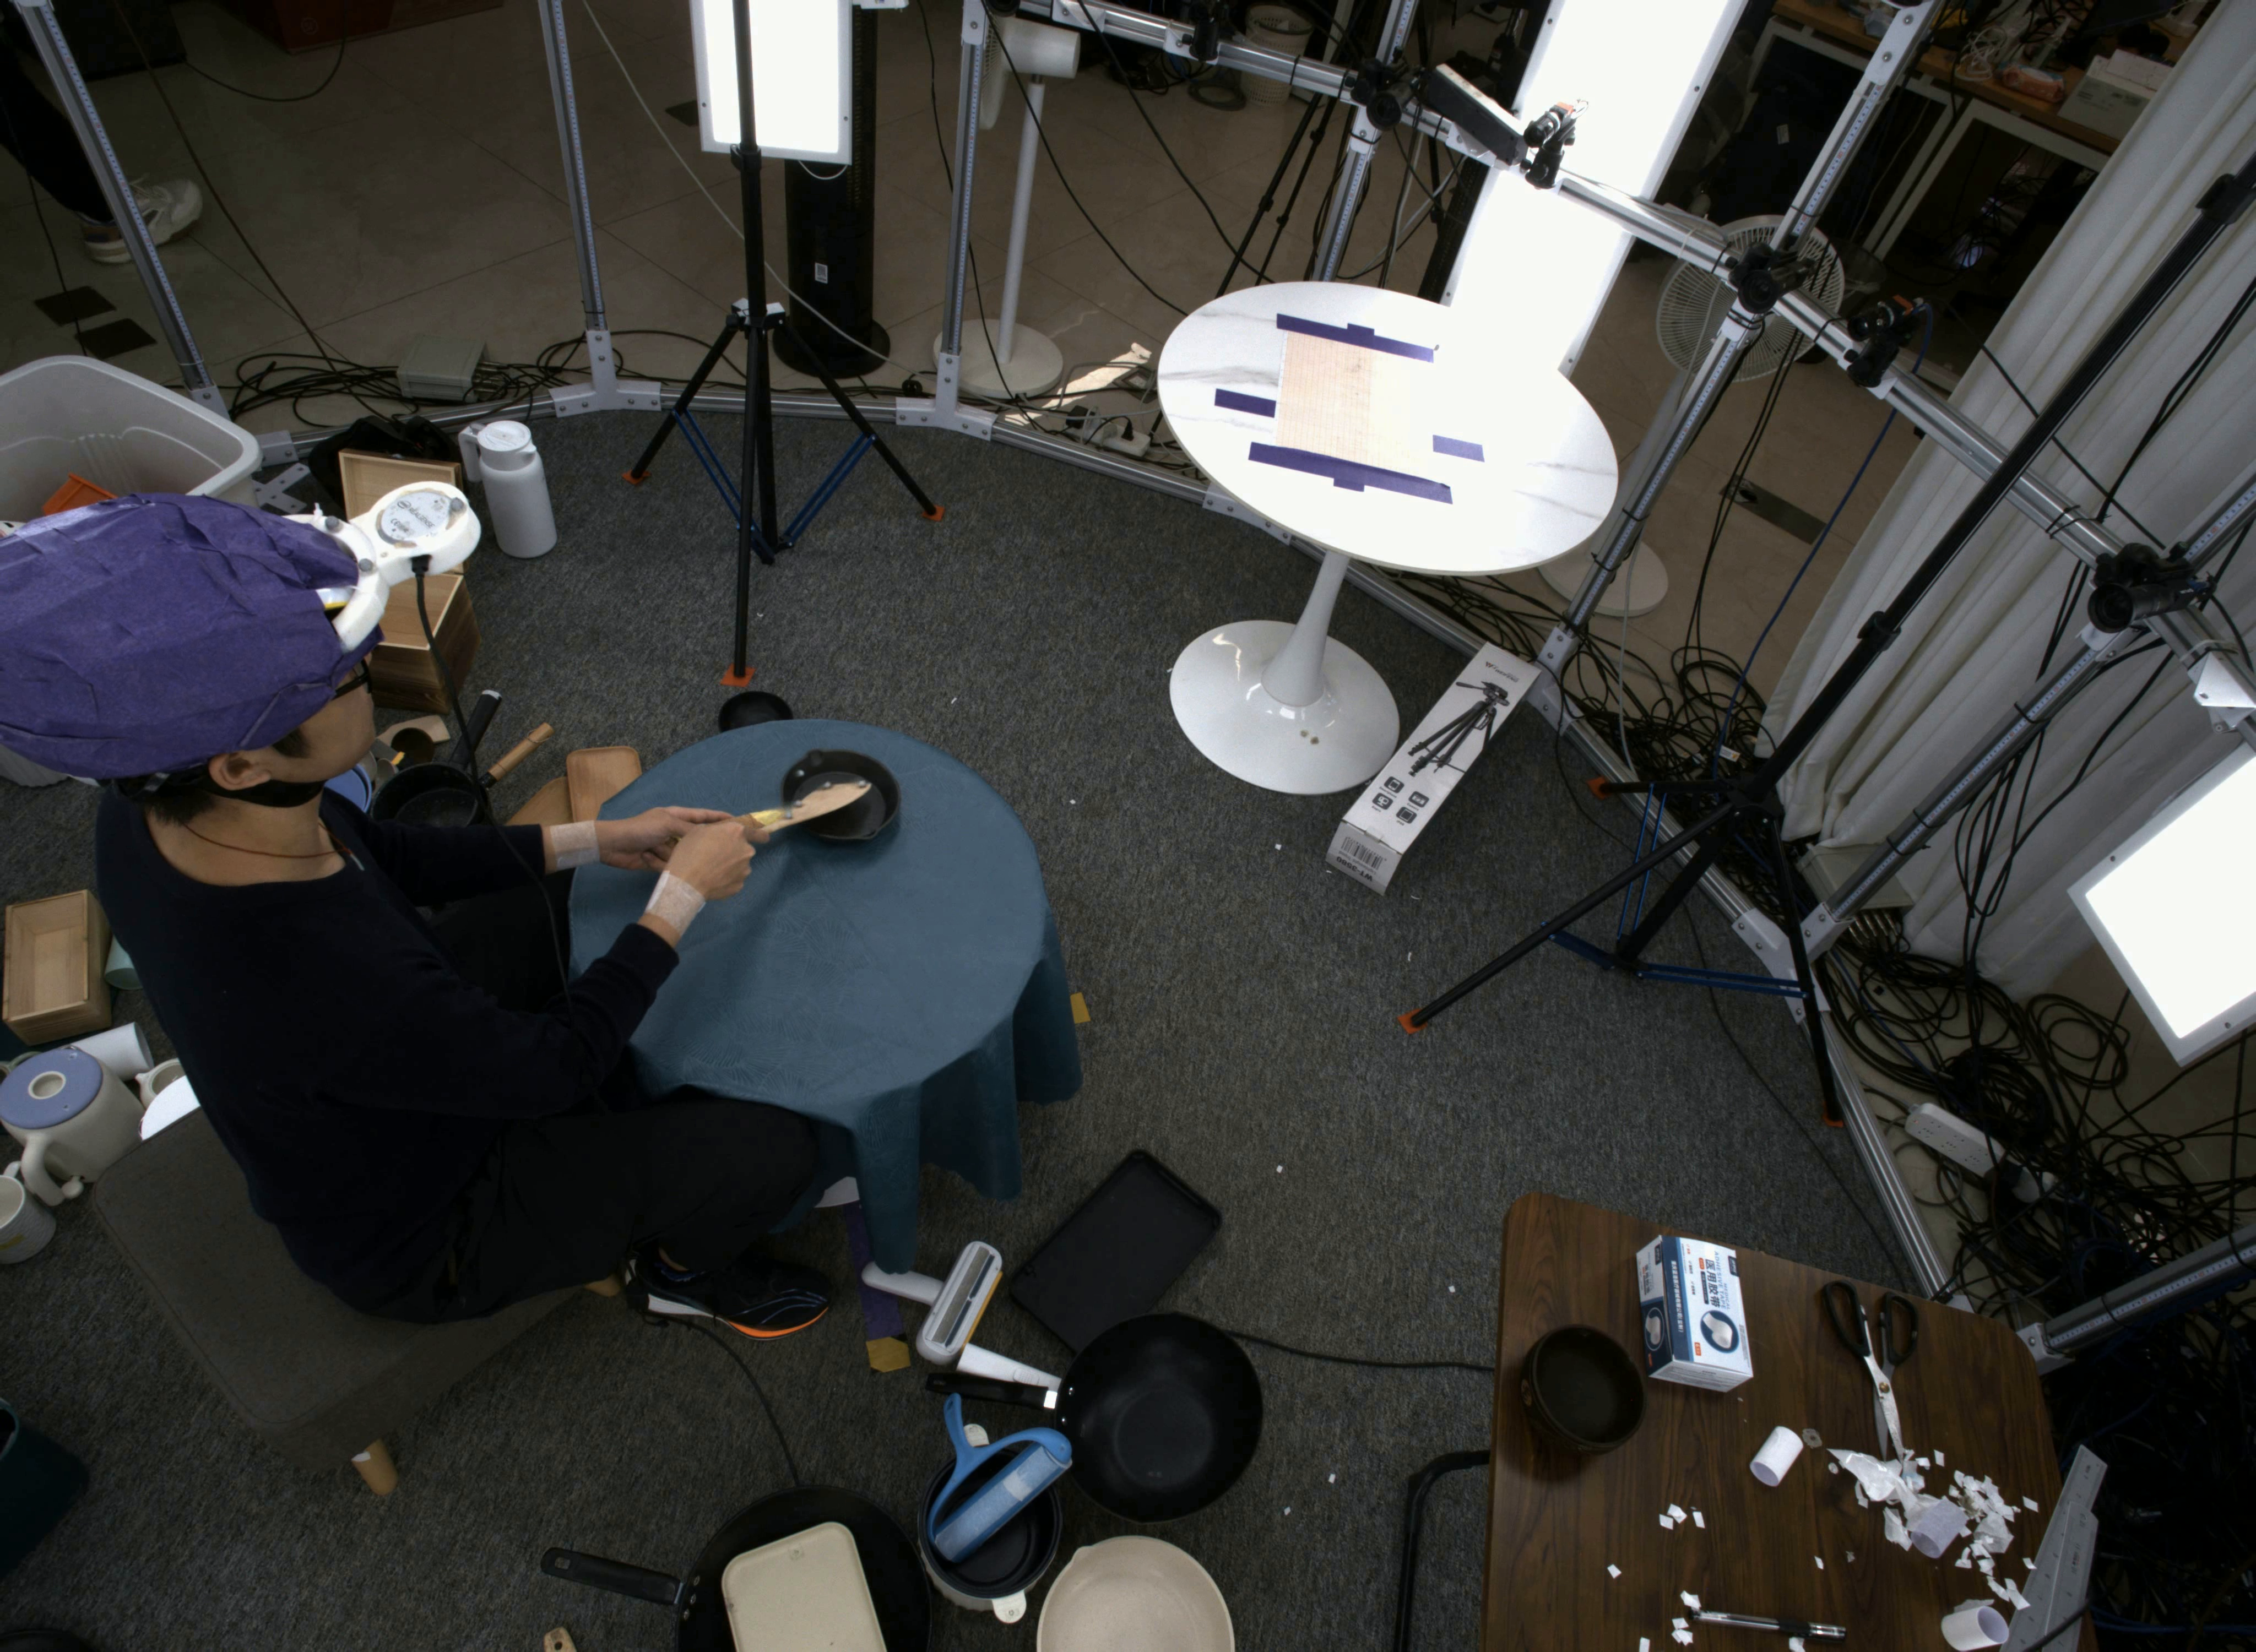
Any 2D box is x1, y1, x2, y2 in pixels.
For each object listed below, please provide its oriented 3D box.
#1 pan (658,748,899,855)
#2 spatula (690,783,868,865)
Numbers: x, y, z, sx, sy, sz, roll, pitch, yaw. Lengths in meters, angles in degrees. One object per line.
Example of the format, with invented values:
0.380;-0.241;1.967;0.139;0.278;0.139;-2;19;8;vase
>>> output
-0.450;-0.016;1.672;0.327;0.050;0.165;-19;60;-33;pan
-0.434;-0.007;1.601;0.078;0.017;0.328;1;16;20;spatula
